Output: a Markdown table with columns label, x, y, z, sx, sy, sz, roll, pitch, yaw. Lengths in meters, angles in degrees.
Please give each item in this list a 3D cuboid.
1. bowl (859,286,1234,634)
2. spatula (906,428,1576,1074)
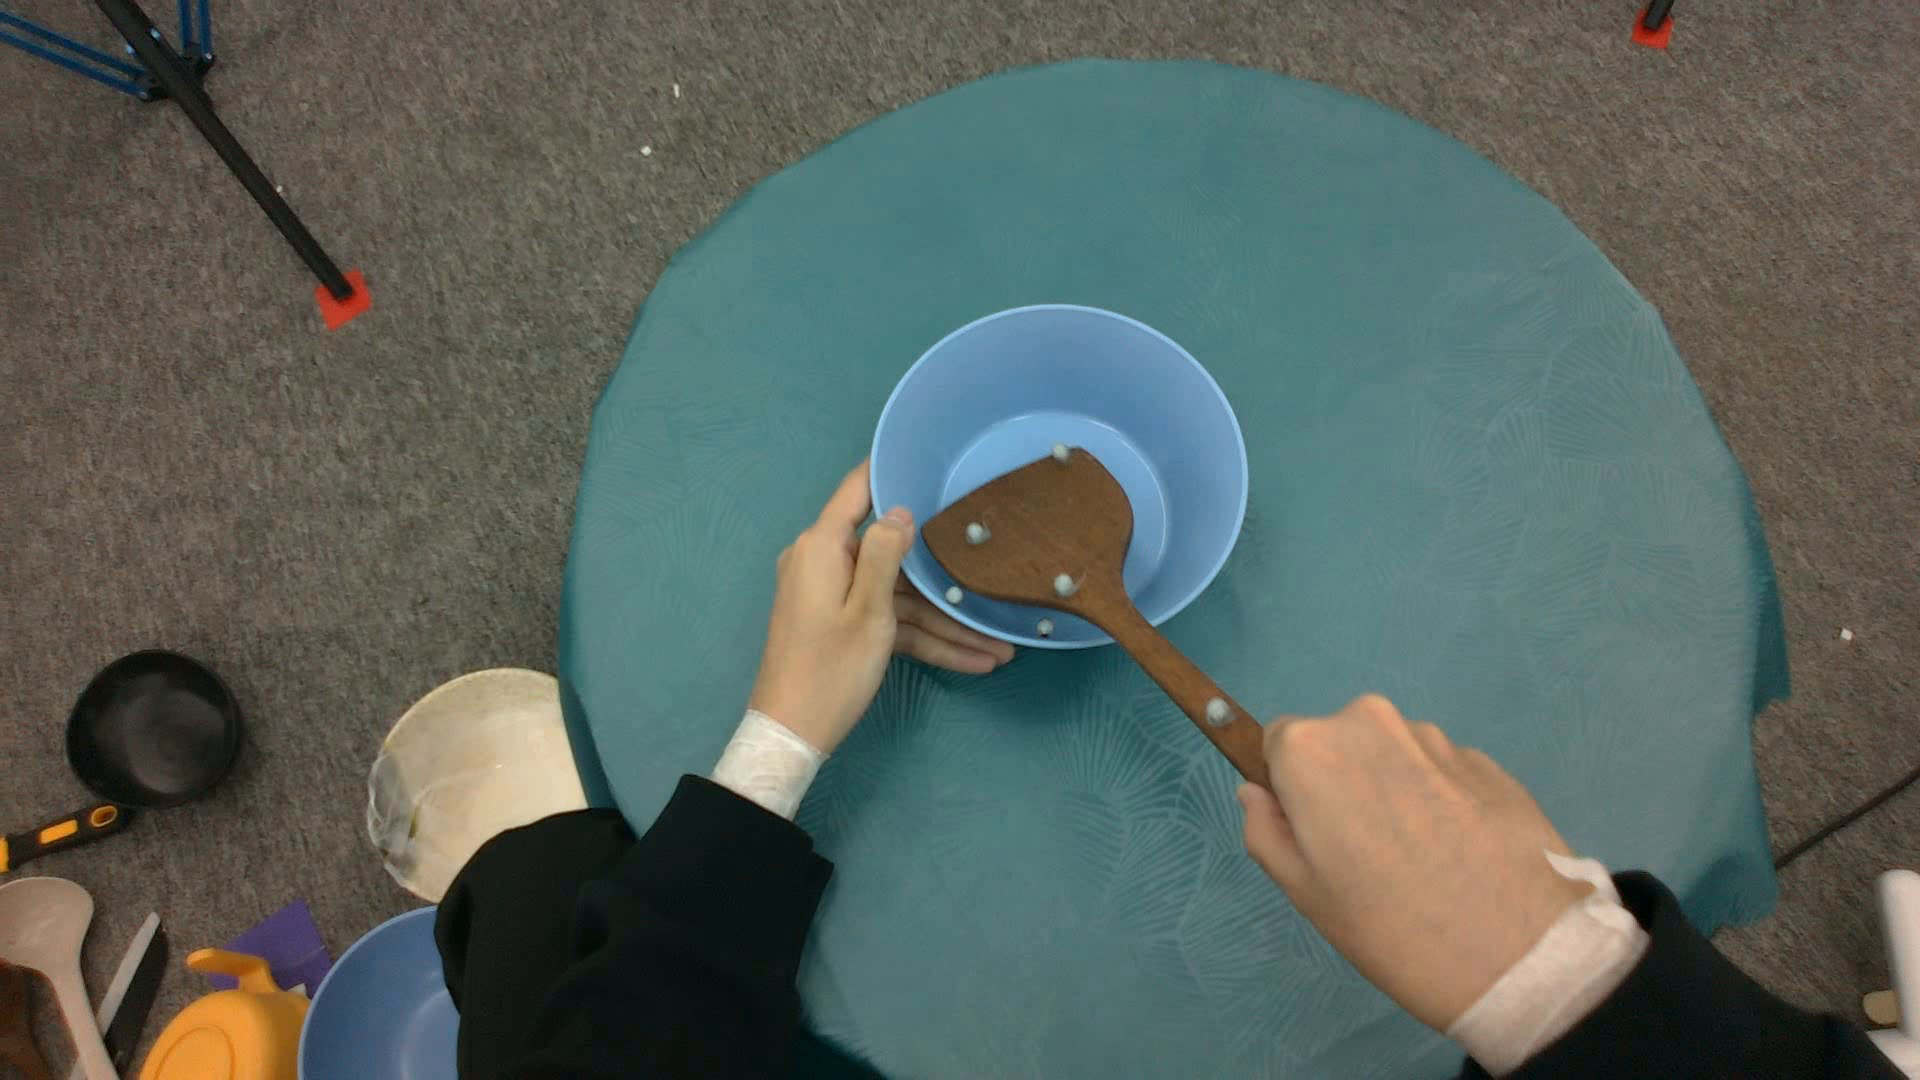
| label | x | y | z | sx | sy | sz | roll | pitch | yaw |
| --- | --- | --- | --- | --- | --- | --- | --- | --- | --- |
| bowl | 0.041 | -0.031 | 0.671 | 0.176 | 0.070 | 0.176 | 0 | 70 | 1 |
| spatula | 0.086 | 0.052 | 0.526 | 0.096 | 0.016 | 0.386 | -27 | 36 | -11 |
